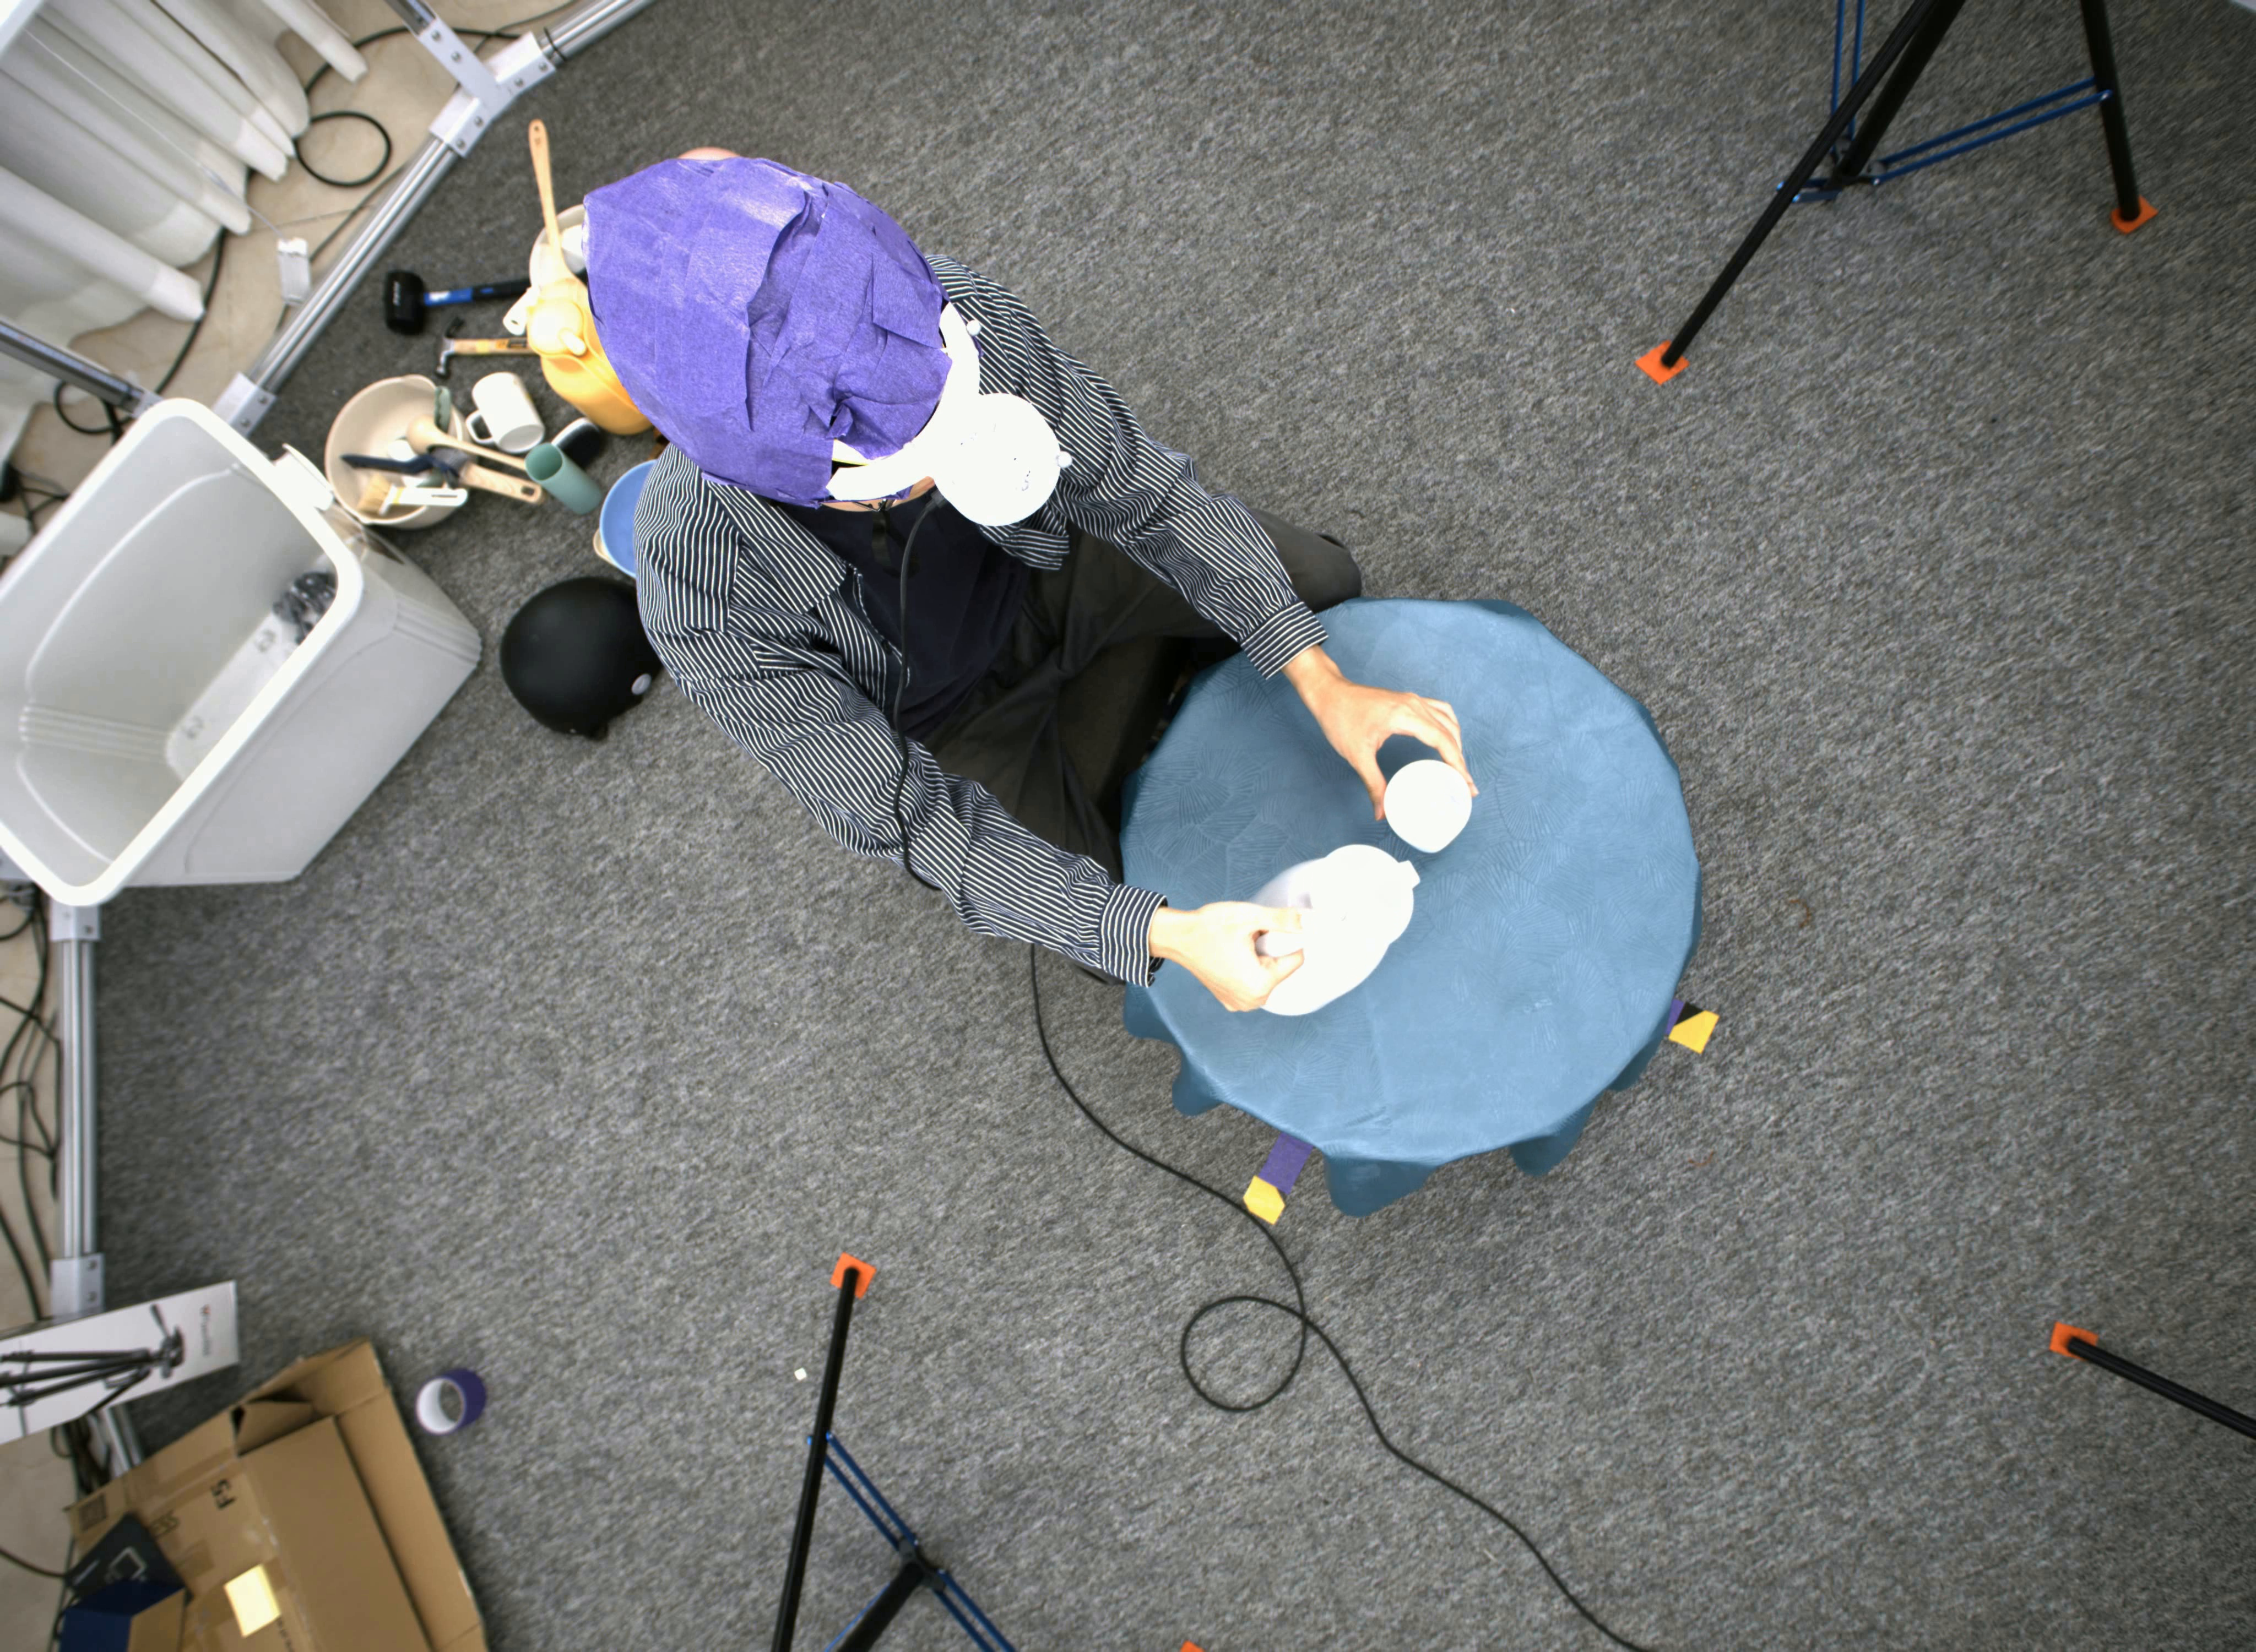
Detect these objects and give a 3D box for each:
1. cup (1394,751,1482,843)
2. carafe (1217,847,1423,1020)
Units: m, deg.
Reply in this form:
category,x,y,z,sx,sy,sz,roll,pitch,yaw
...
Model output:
category,x,y,z,sx,sy,sz,roll,pitch,yaw
cup,0.301,-0.026,1.339,0.082,0.125,0.081,-1,86,12
carafe,0.166,0.105,1.272,0.166,0.252,0.132,-33,84,-19
